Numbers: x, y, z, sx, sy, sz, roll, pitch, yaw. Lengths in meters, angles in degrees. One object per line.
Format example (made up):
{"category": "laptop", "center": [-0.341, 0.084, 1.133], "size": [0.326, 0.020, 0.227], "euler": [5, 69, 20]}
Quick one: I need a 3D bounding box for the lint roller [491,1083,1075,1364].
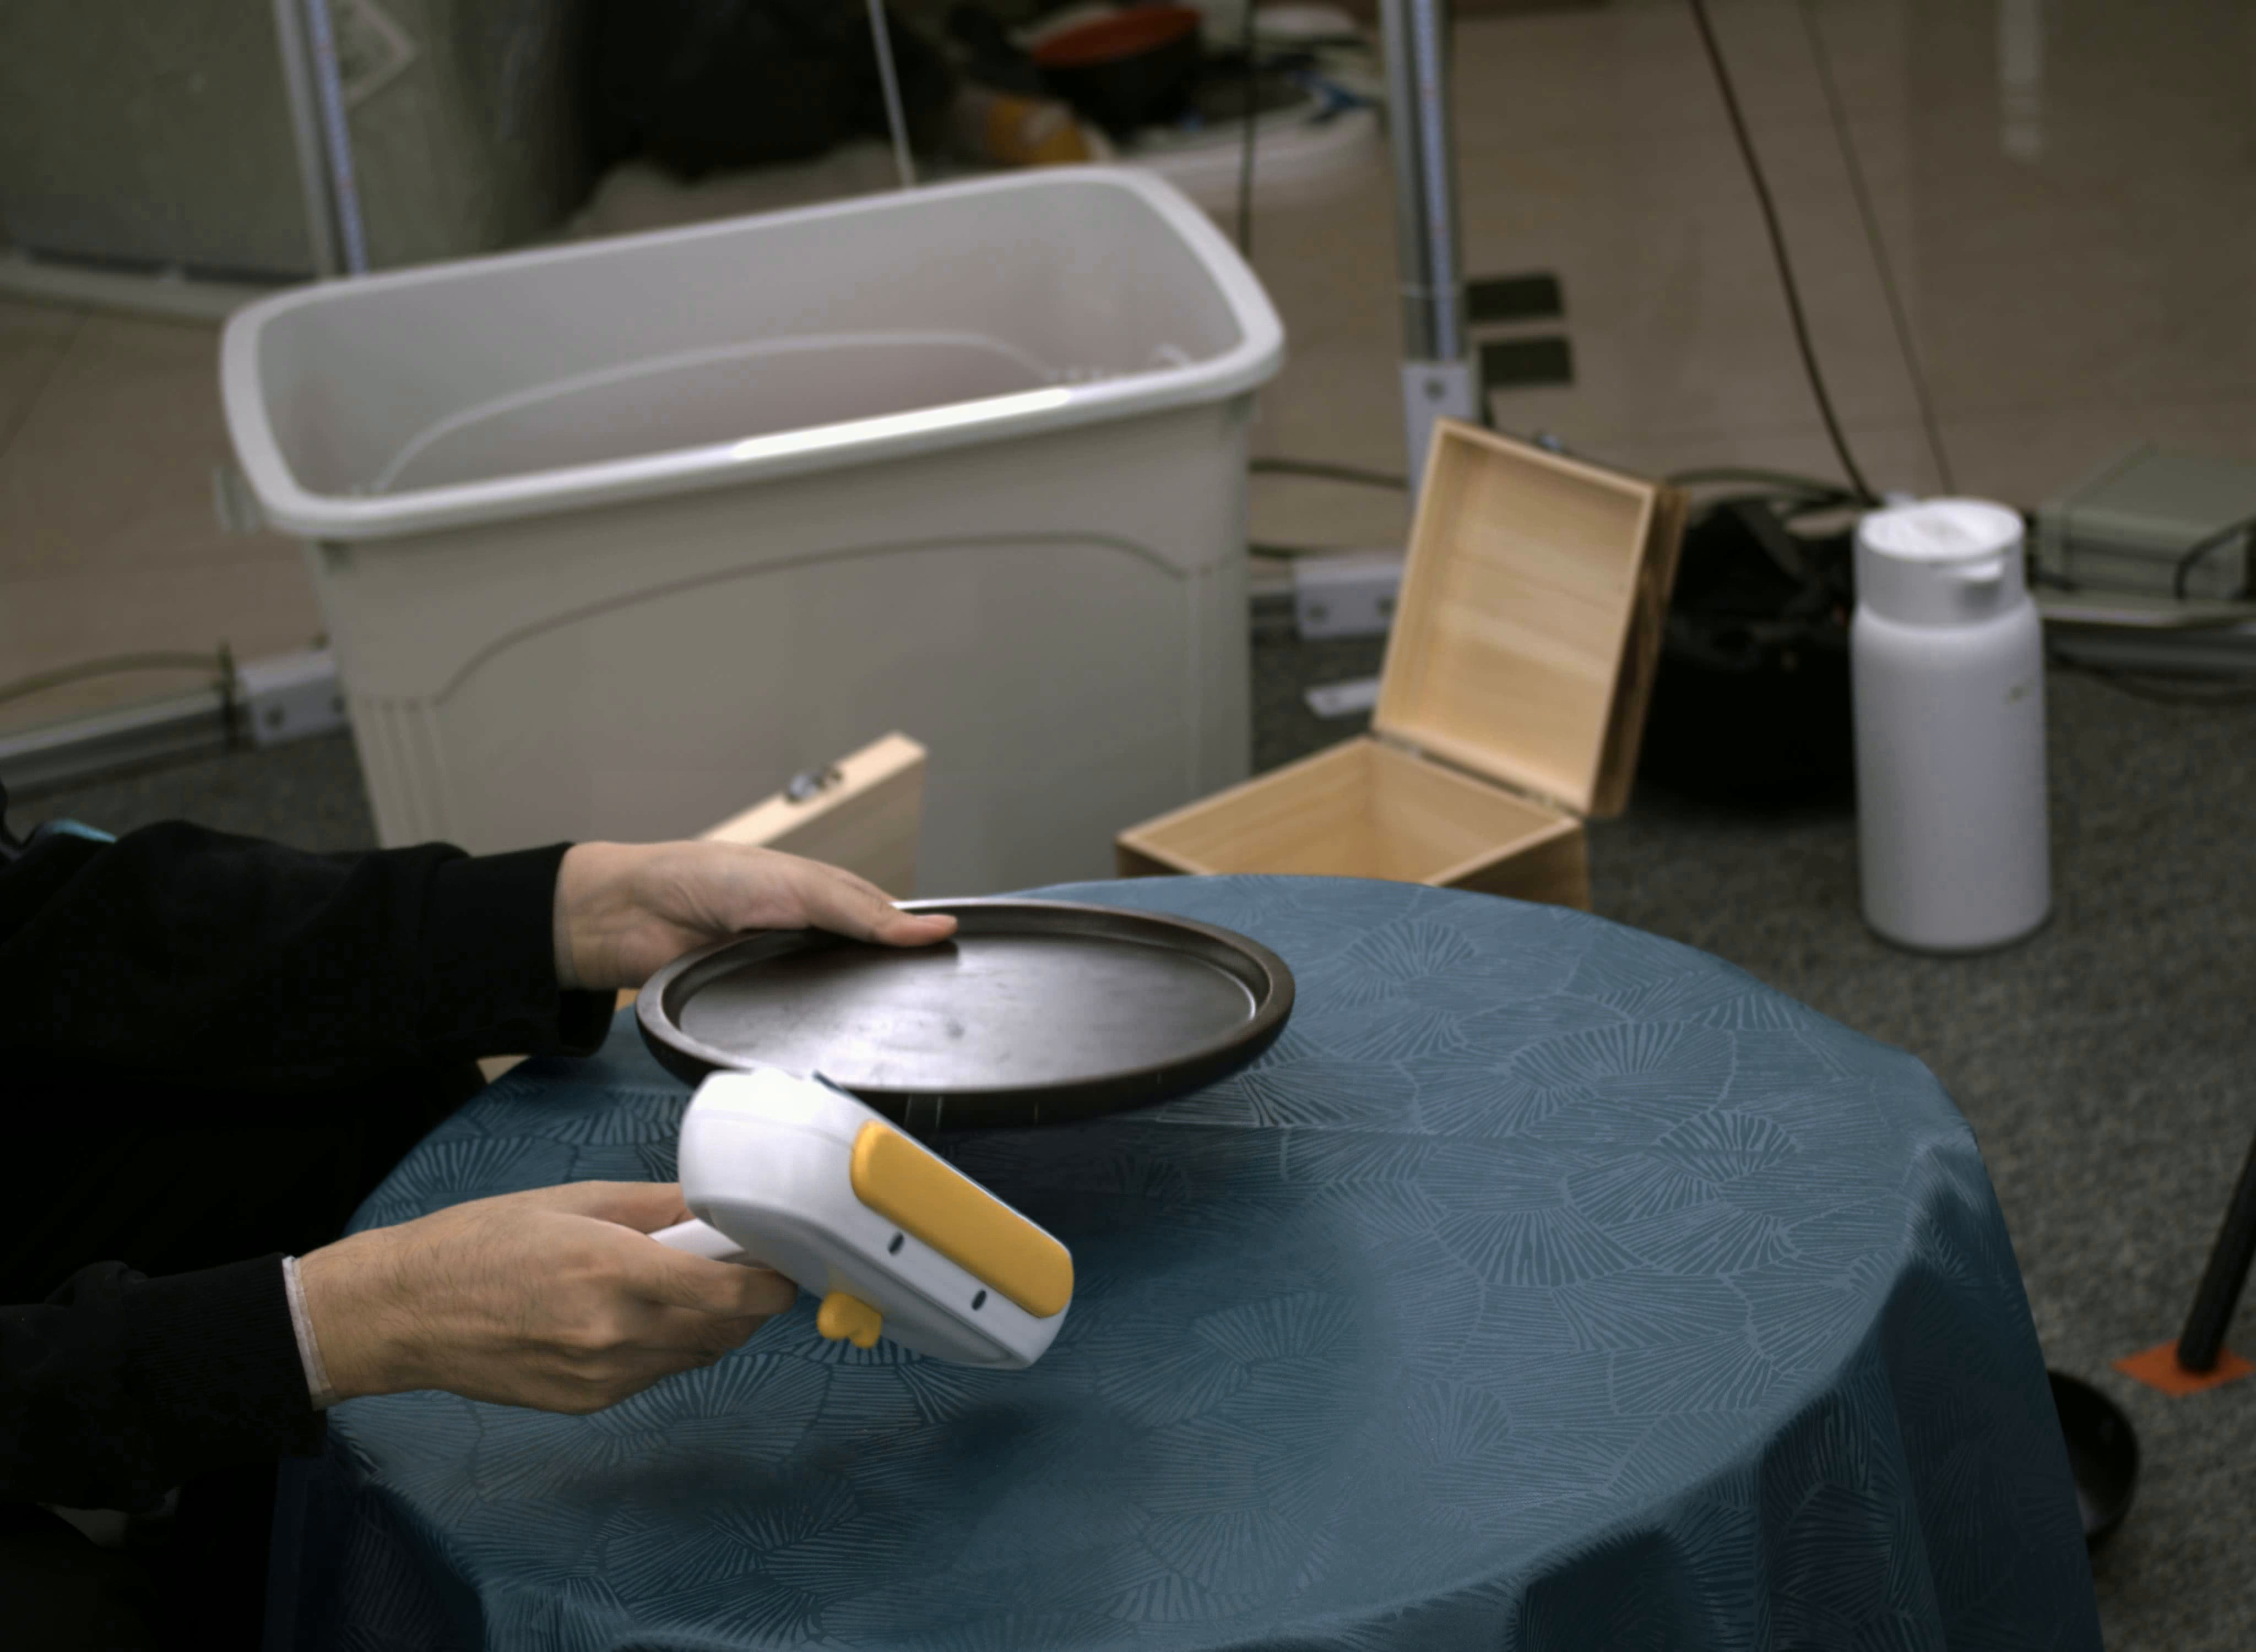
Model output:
{"category": "lint roller", "center": [-0.137, 0.148, 1.956], "size": [0.192, 0.073, 0.194], "euler": [-7, -20, 31]}

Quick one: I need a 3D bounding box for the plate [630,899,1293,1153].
{"category": "plate", "center": [-0.063, 0.074, 2.161], "size": [0.254, 0.029, 0.252], "euler": [-2, 17, 1]}
